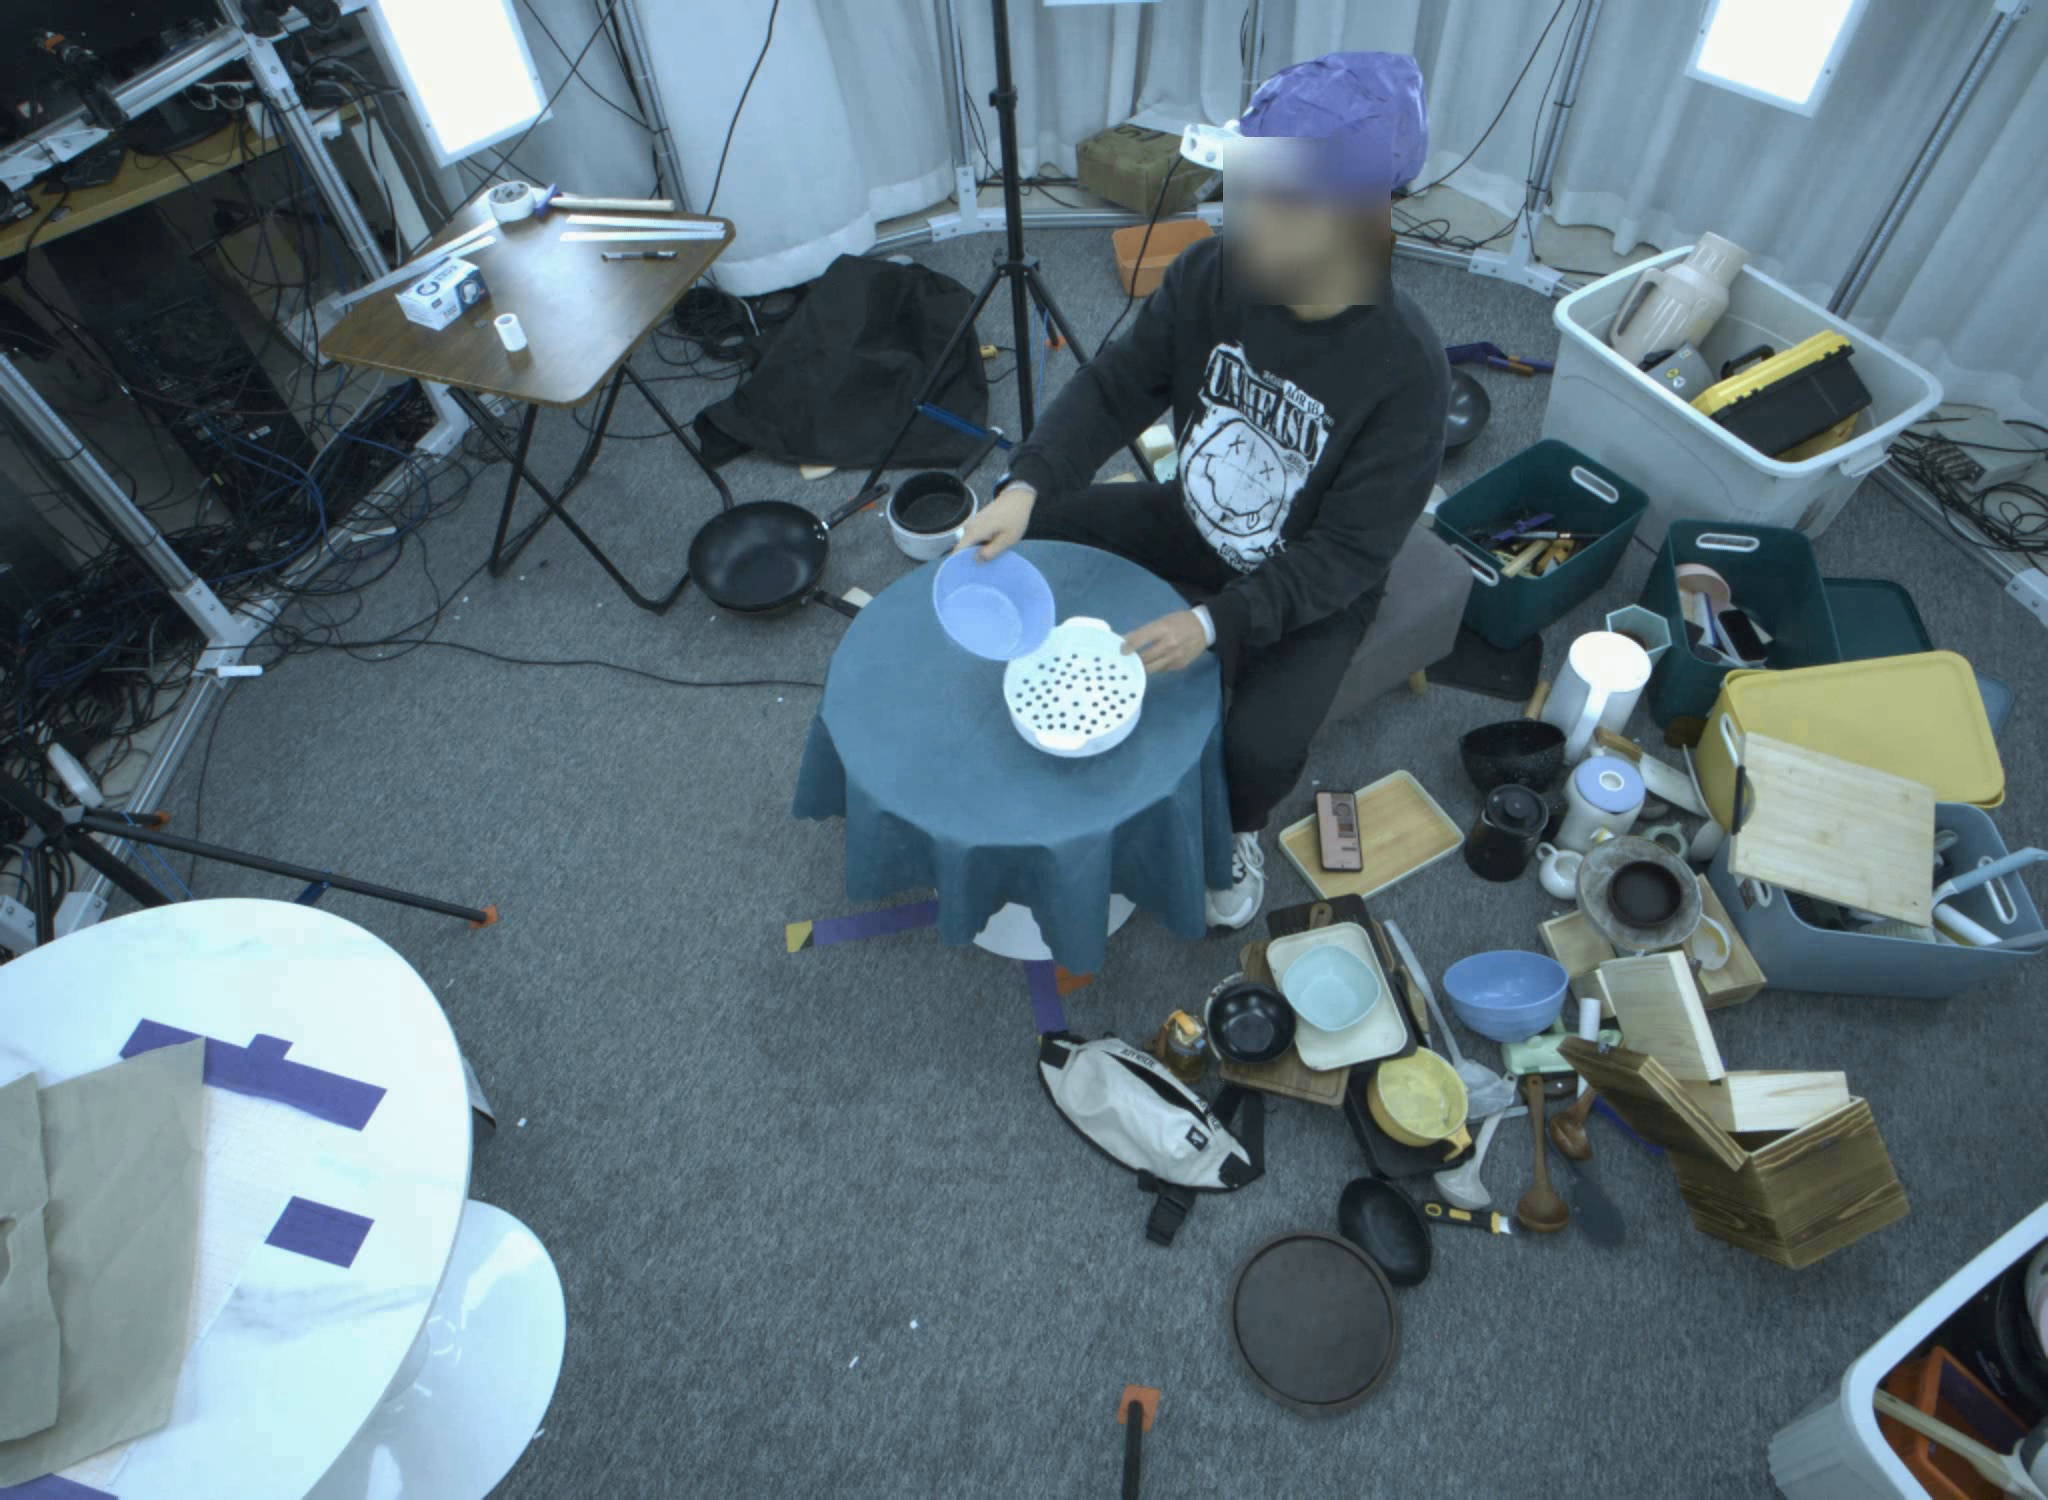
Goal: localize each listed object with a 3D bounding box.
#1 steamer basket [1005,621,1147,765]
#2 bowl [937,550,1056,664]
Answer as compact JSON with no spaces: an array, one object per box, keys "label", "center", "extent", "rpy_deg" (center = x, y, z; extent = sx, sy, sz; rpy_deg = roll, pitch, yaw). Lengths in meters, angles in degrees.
[{"label":"steamer basket","center":[0.076,-0.075,1.773],"extent":[0.201,0.070,0.229],"rpy_deg":[8,63,8]},{"label":"bowl","center":[-0.048,-0.188,1.714],"extent":[0.179,0.069,0.175],"rpy_deg":[9,68,-22]}]
